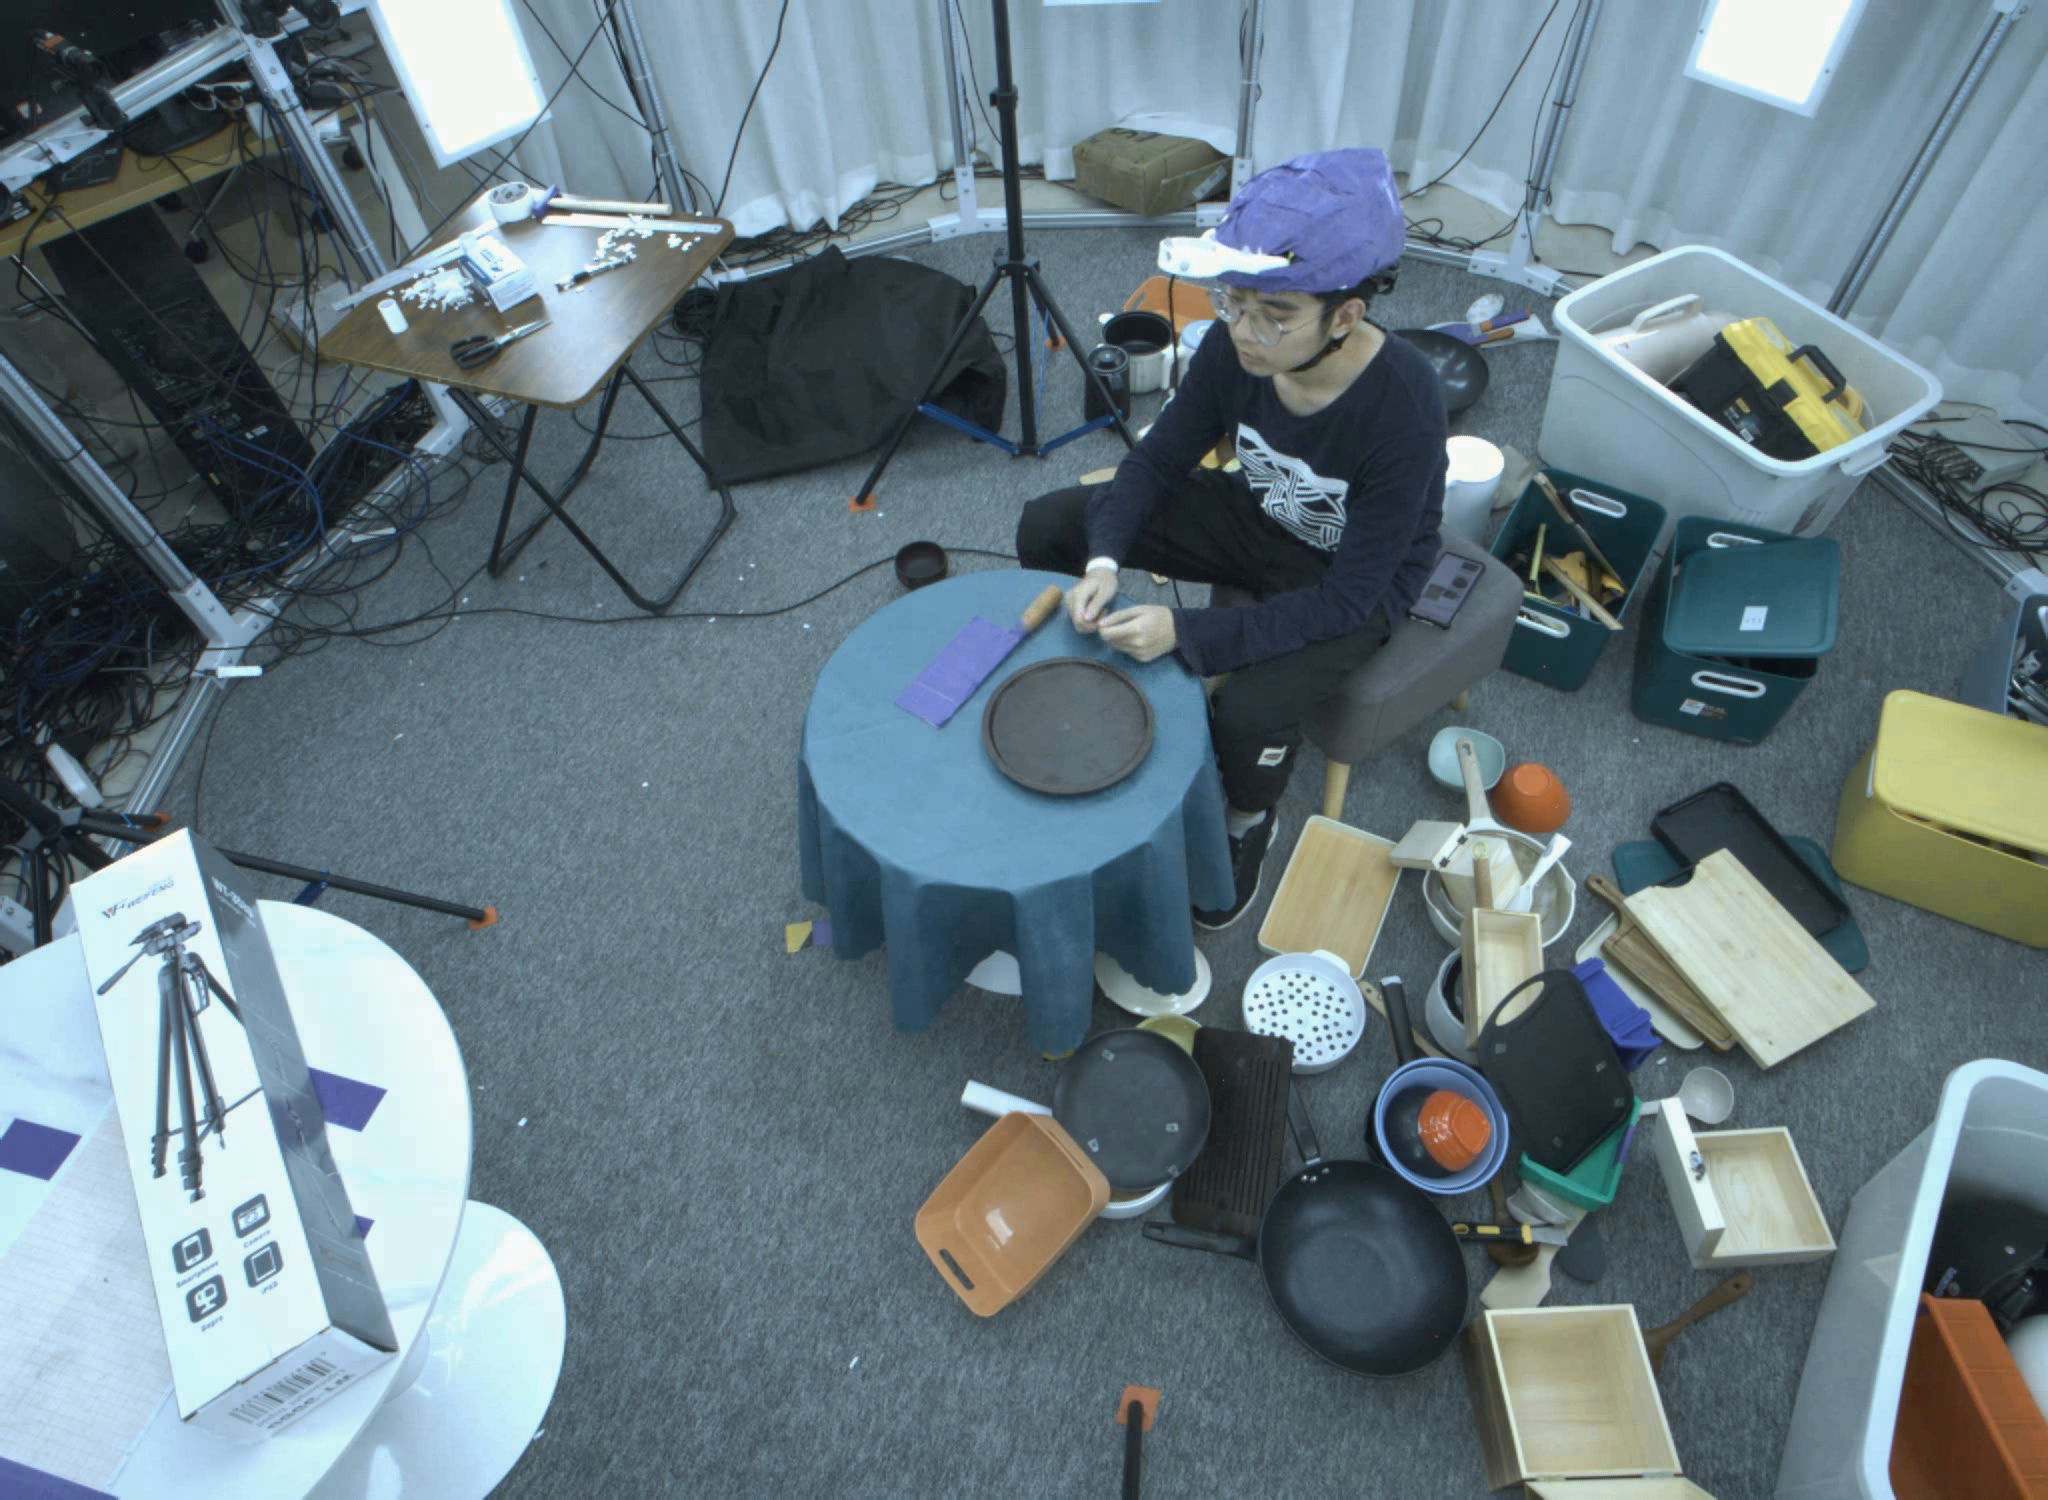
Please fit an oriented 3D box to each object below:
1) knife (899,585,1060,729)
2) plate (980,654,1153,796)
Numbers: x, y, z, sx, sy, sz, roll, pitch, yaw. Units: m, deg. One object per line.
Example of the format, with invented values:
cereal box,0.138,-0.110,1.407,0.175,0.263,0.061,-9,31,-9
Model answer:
knife,-0.070,-0.160,1.895,0.102,0.032,0.317,30,61,21
plate,0.062,-0.037,1.805,0.254,0.029,0.252,0,55,2
